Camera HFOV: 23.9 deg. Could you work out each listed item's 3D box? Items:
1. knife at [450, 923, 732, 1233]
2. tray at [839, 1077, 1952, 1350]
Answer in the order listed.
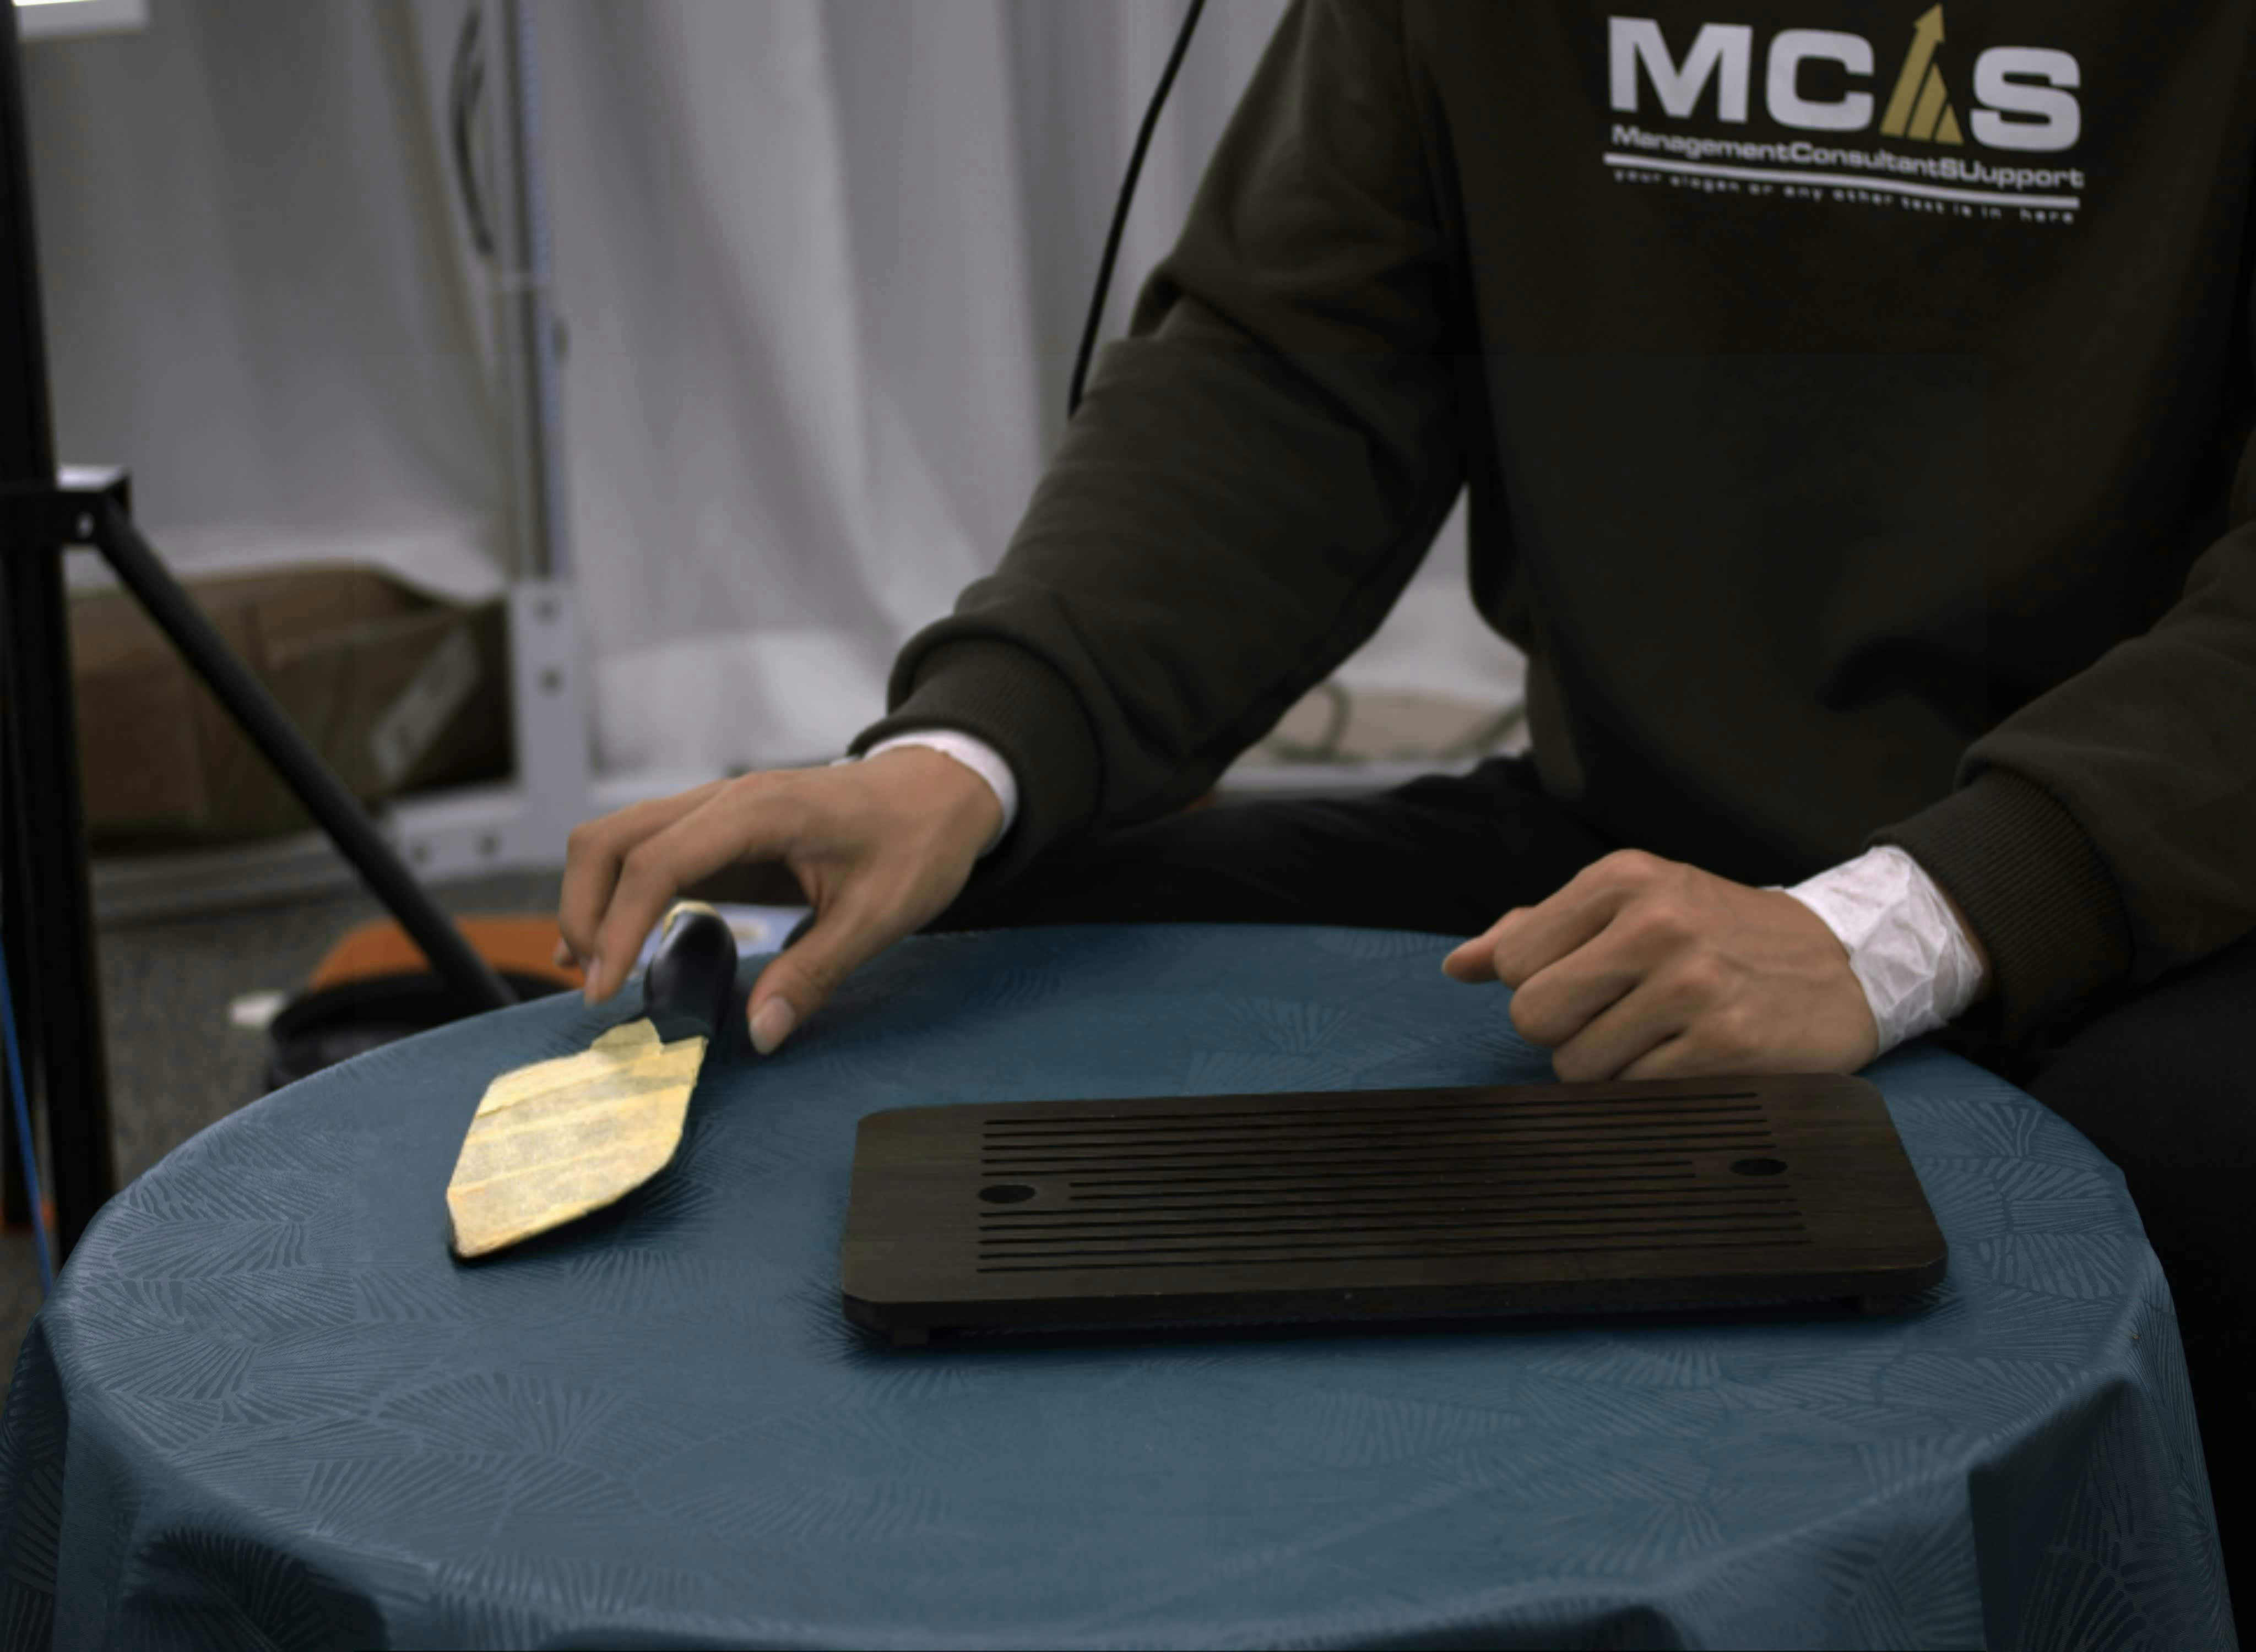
[{"bbox_3d":[-0.164,0.079,1.663,0.081,0.027,0.289,-9,14,7],"label":"knife"},{"bbox_3d":[0.073,0.110,1.509,0.305,0.018,0.170,-2,15,2],"label":"tray"}]
